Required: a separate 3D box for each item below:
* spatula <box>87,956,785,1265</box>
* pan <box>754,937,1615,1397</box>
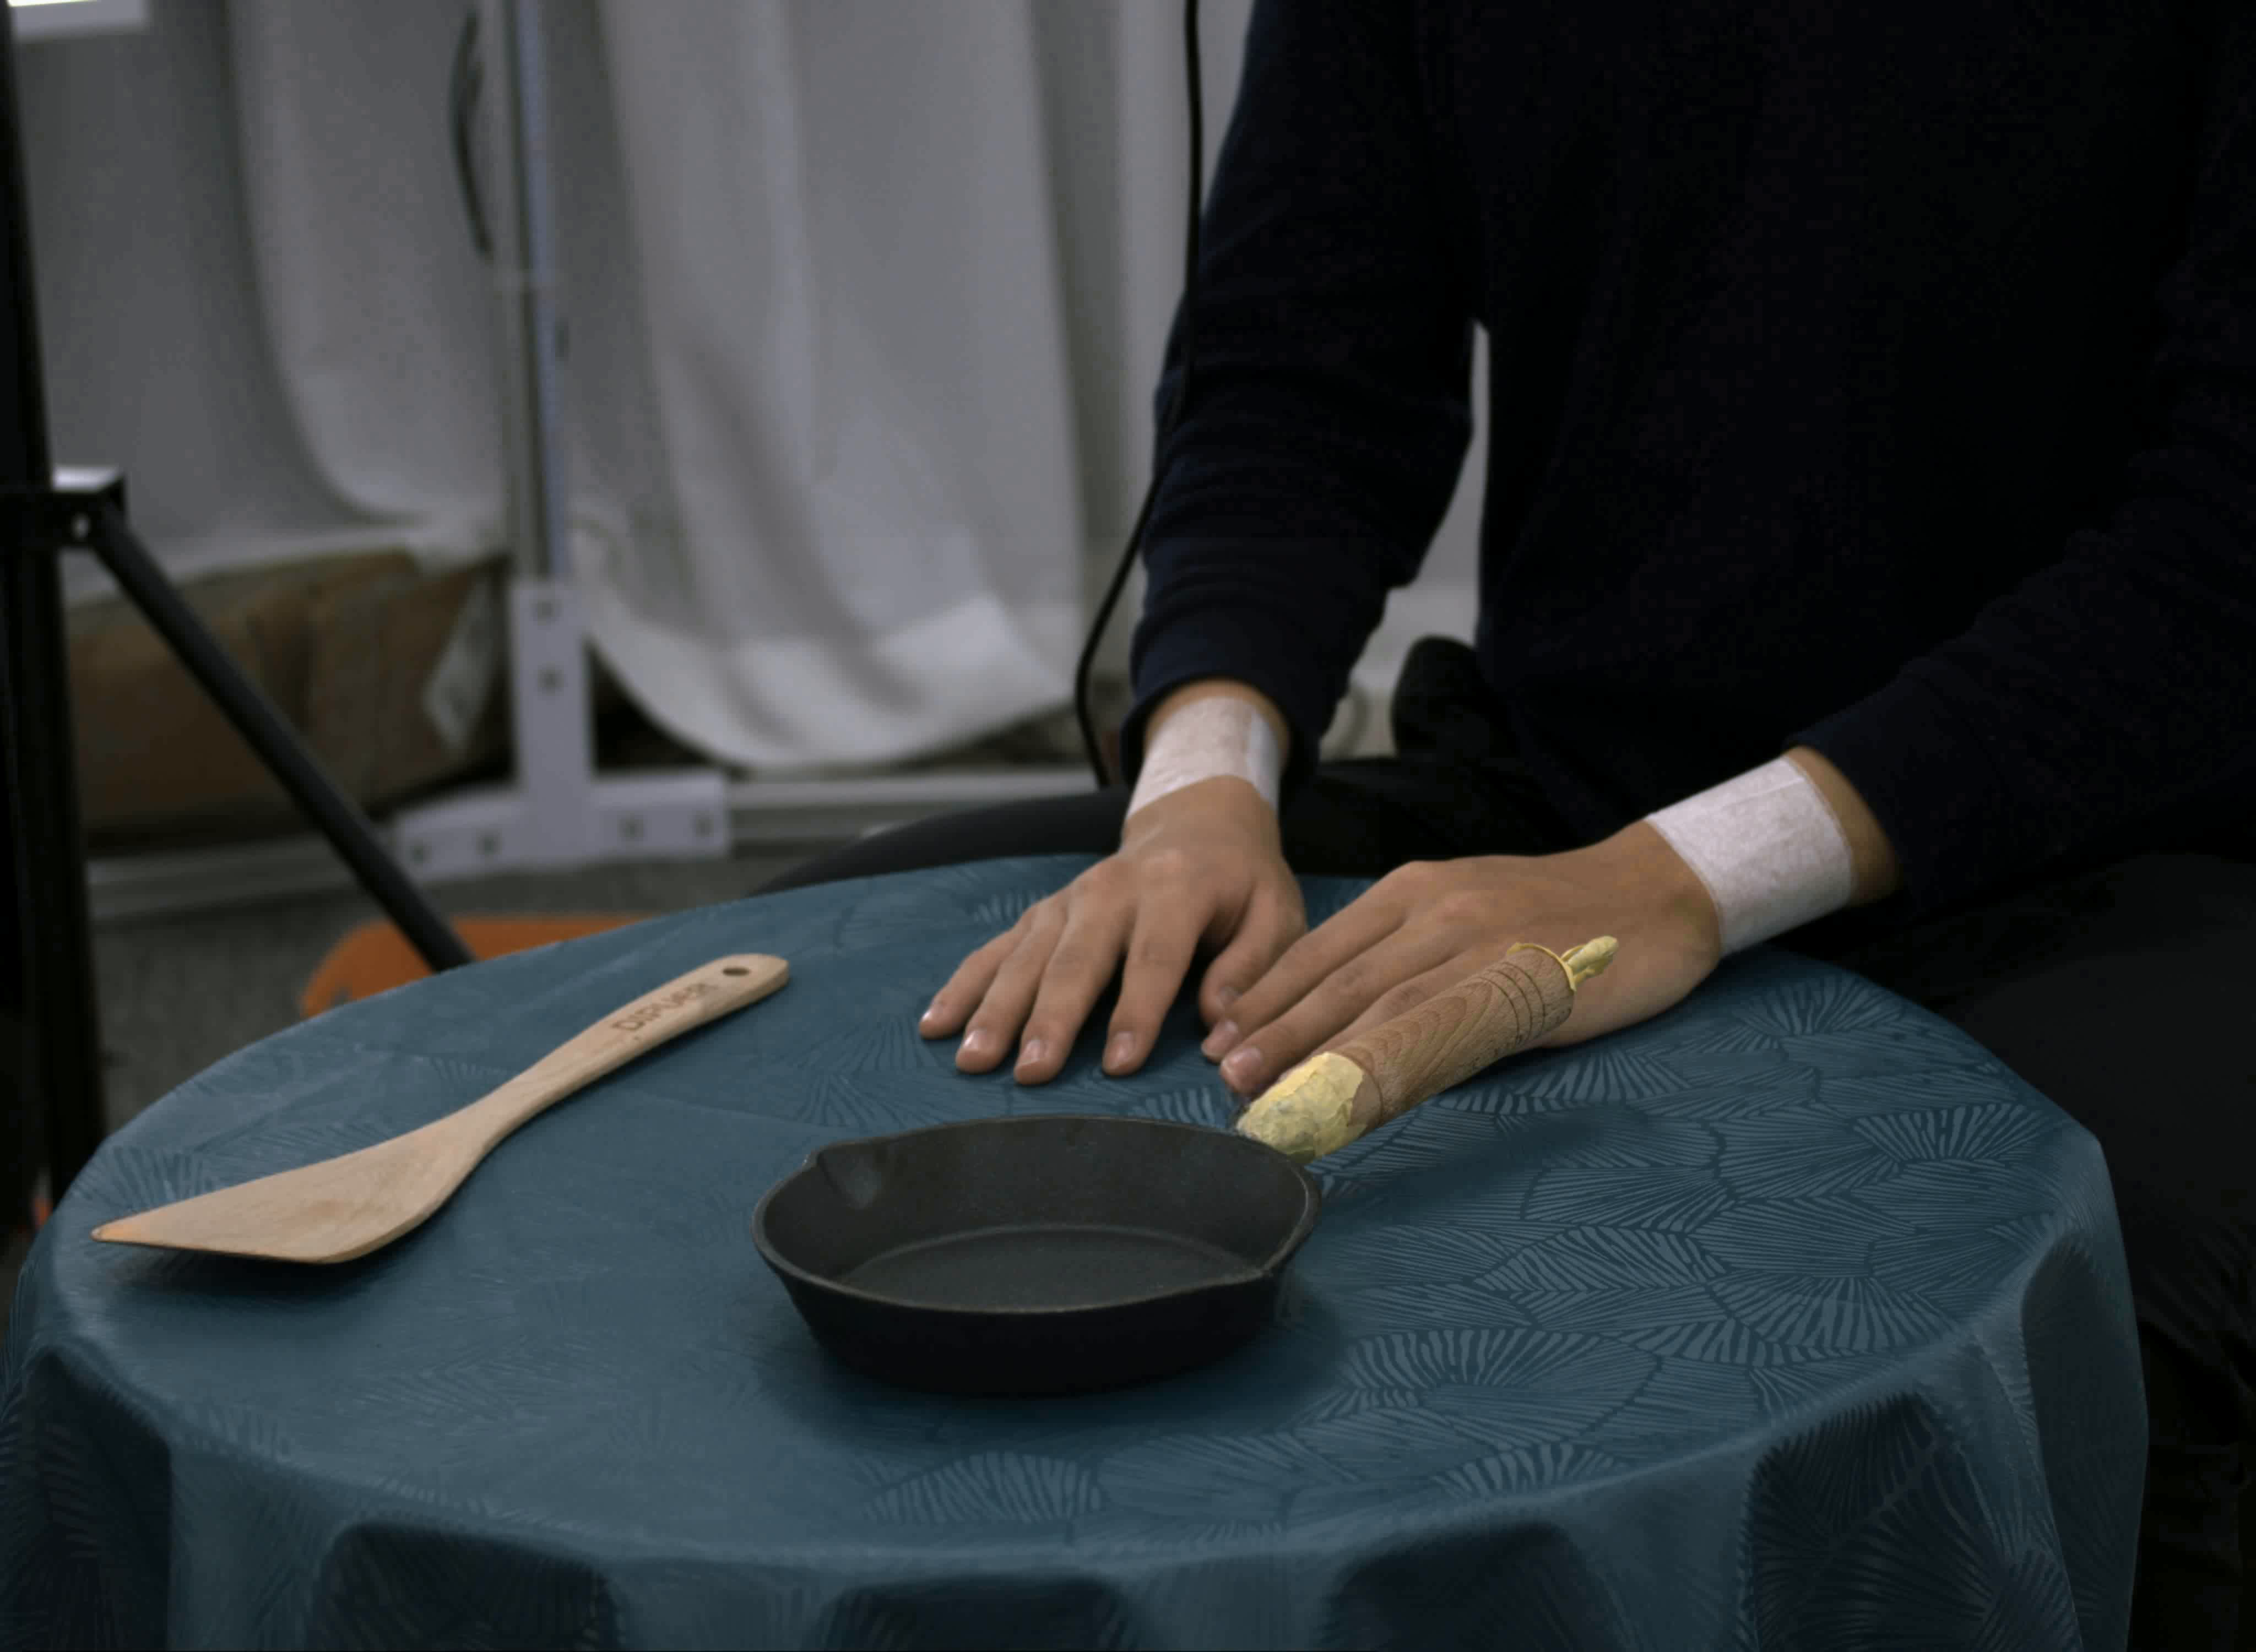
[{"bbox_3d":[-0.193,0.084,1.644,0.081,0.016,0.322,6,18,26],"label":"spatula"},{"bbox_3d":[0.035,0.093,1.513,0.317,0.049,0.173,-19,22,-41],"label":"pan"}]
